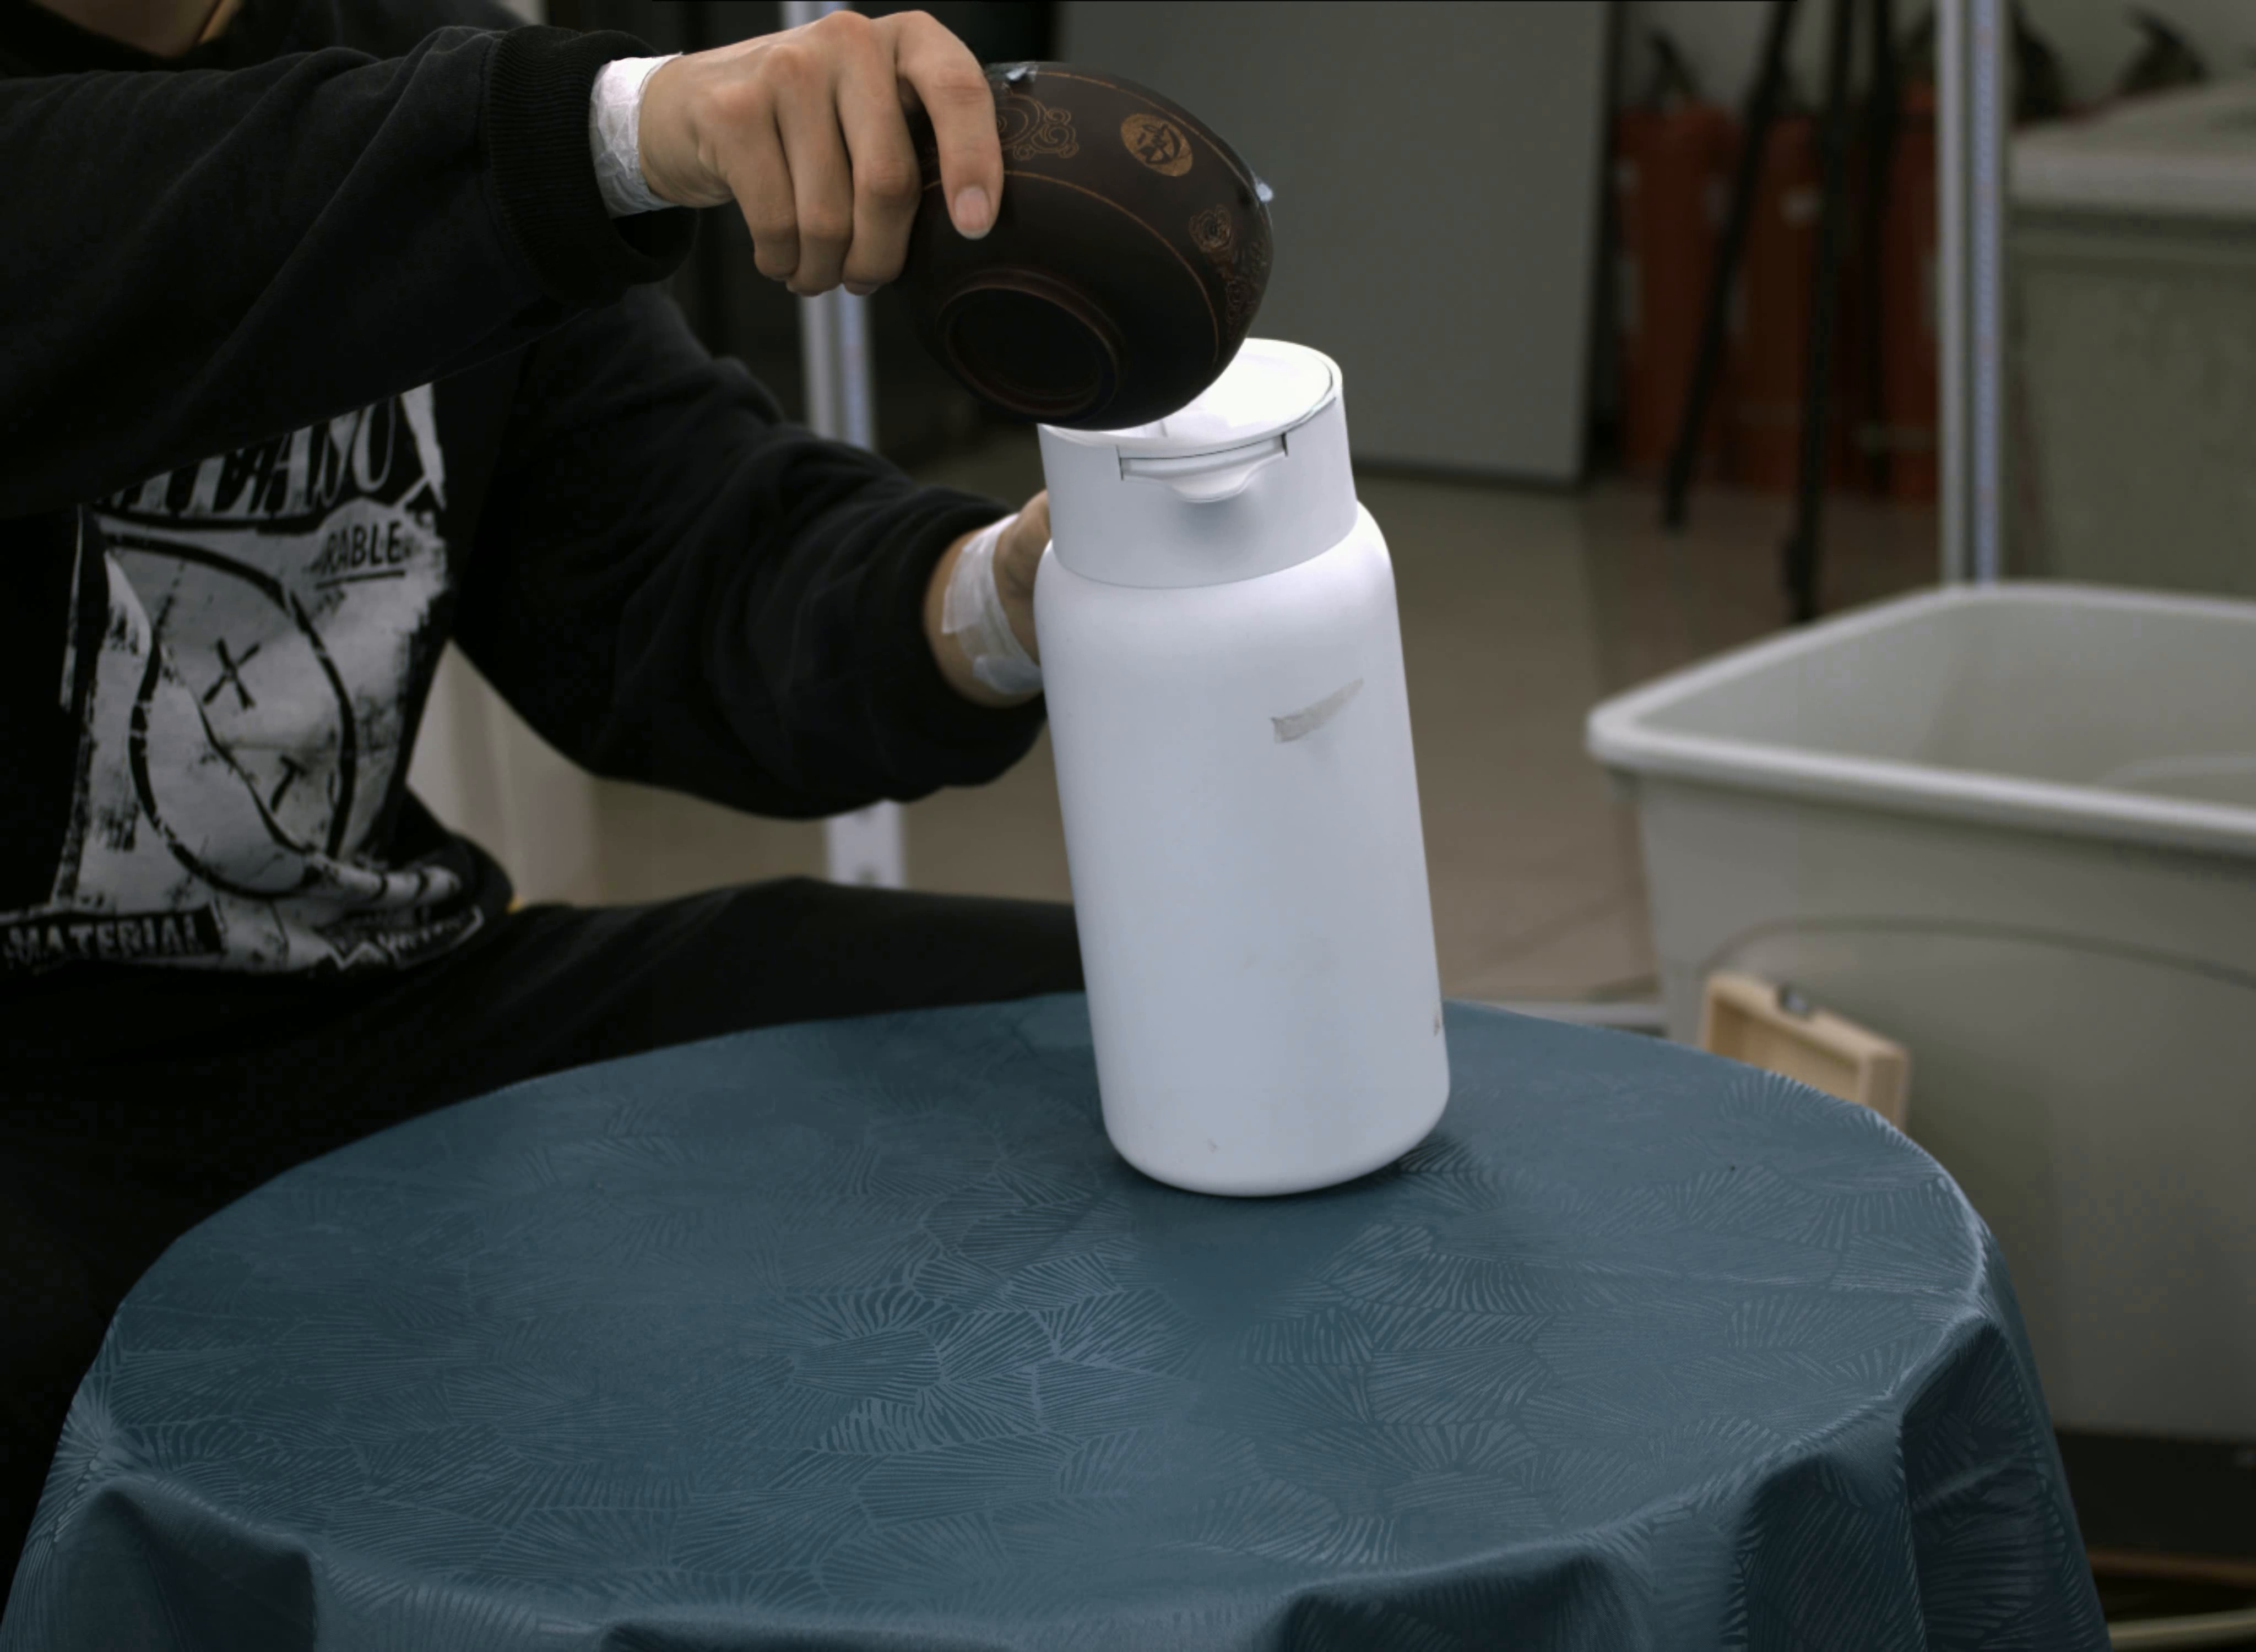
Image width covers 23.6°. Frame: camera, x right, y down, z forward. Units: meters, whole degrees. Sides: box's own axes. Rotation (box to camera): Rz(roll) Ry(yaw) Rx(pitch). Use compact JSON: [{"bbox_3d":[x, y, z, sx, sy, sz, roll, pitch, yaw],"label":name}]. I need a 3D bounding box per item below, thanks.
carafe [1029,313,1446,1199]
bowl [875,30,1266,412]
[{"bbox_3d":[0.031,-0.028,1.768,0.122,0.271,0.174,-11,24,-2],"label":"carafe"},{"bbox_3d":[-0.022,-0.171,1.616,0.118,0.118,0.070,3,49,24],"label":"bowl"}]
